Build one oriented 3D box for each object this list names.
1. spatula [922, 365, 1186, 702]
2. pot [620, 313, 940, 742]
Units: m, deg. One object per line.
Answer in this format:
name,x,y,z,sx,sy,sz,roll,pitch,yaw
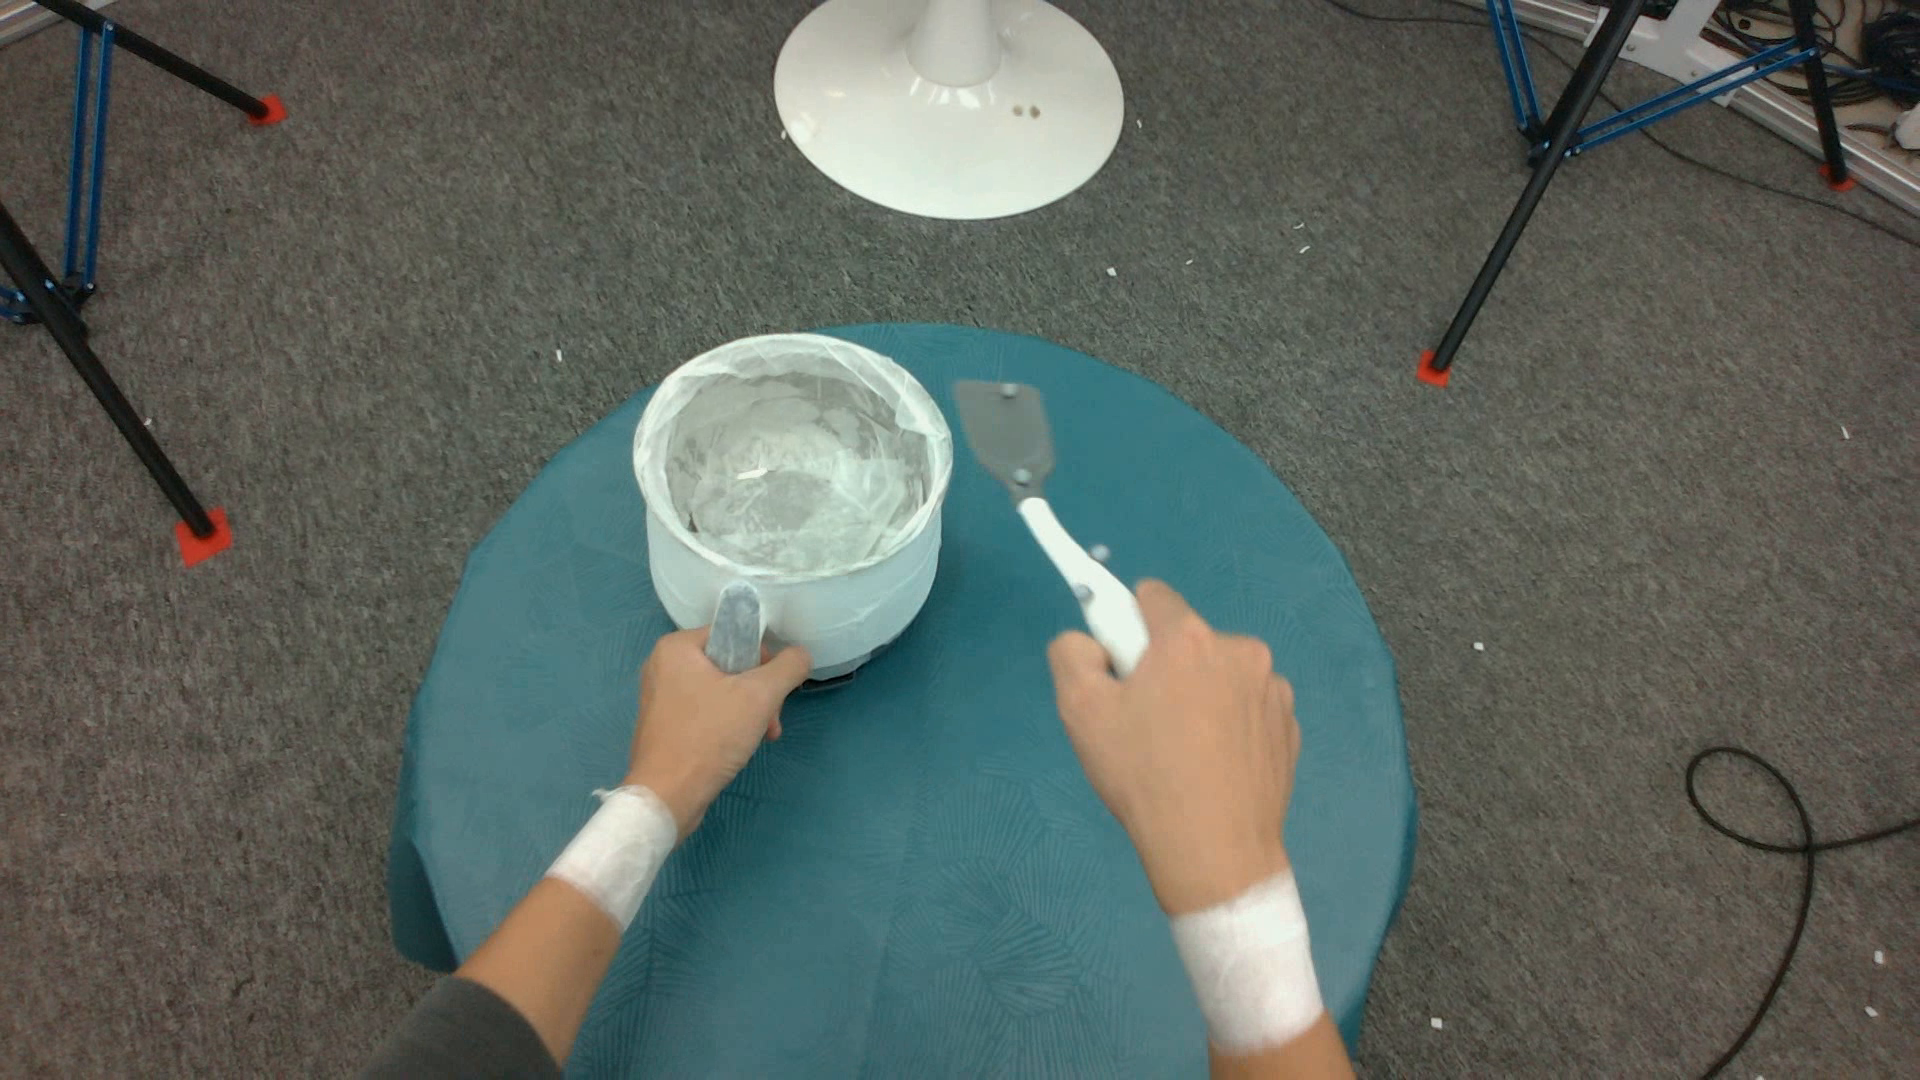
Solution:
spatula,0.039,-0.018,0.681,0.059,0.032,0.288,-1,31,-18
pot,-0.111,-0.004,0.802,0.179,0.136,0.235,12,54,1
